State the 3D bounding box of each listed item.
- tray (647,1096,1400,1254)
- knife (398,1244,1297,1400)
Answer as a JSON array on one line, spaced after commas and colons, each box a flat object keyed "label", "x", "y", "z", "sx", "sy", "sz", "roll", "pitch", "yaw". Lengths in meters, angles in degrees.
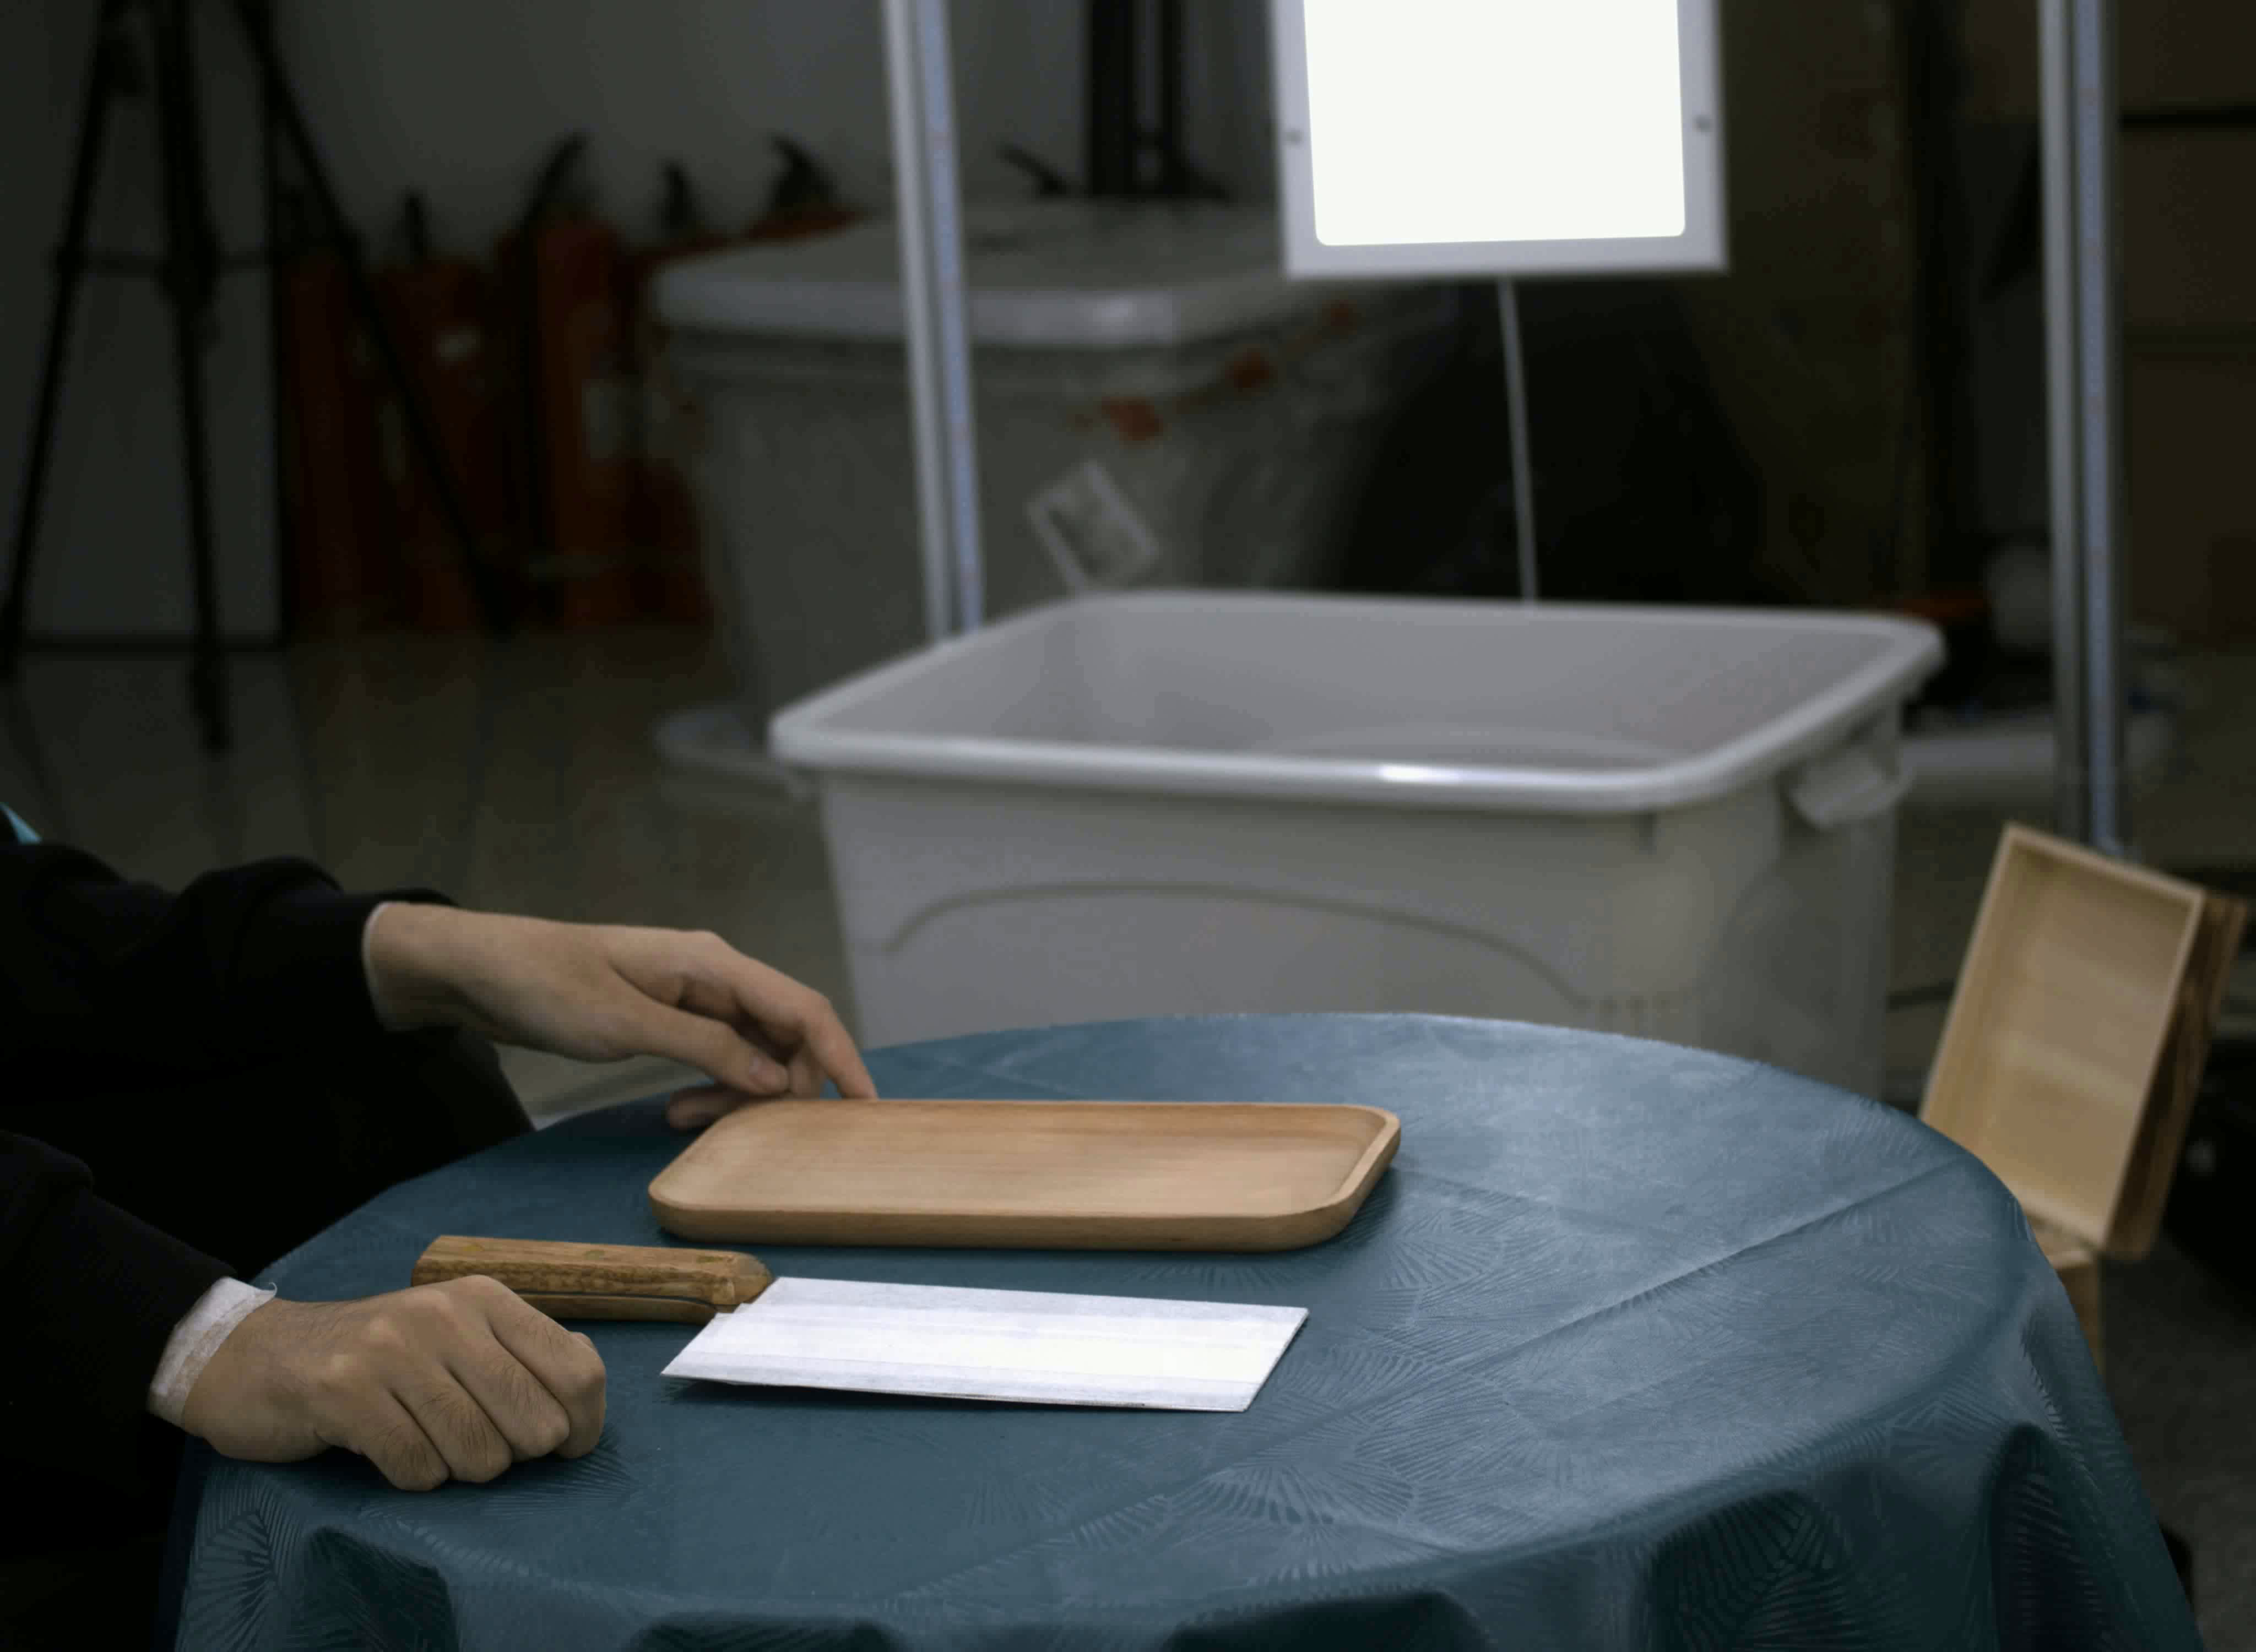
[{"label": "tray", "x": -0.035, "y": 0.120, "z": 1.903, "sx": 0.254, "sy": 0.023, "sz": 0.128, "roll": -1, "pitch": 12, "yaw": 20}, {"label": "knife", "x": -0.099, "y": 0.161, "z": 1.761, "sx": 0.309, "sy": 0.021, "sz": 0.091, "roll": 2, "pitch": 17, "yaw": 17}]
